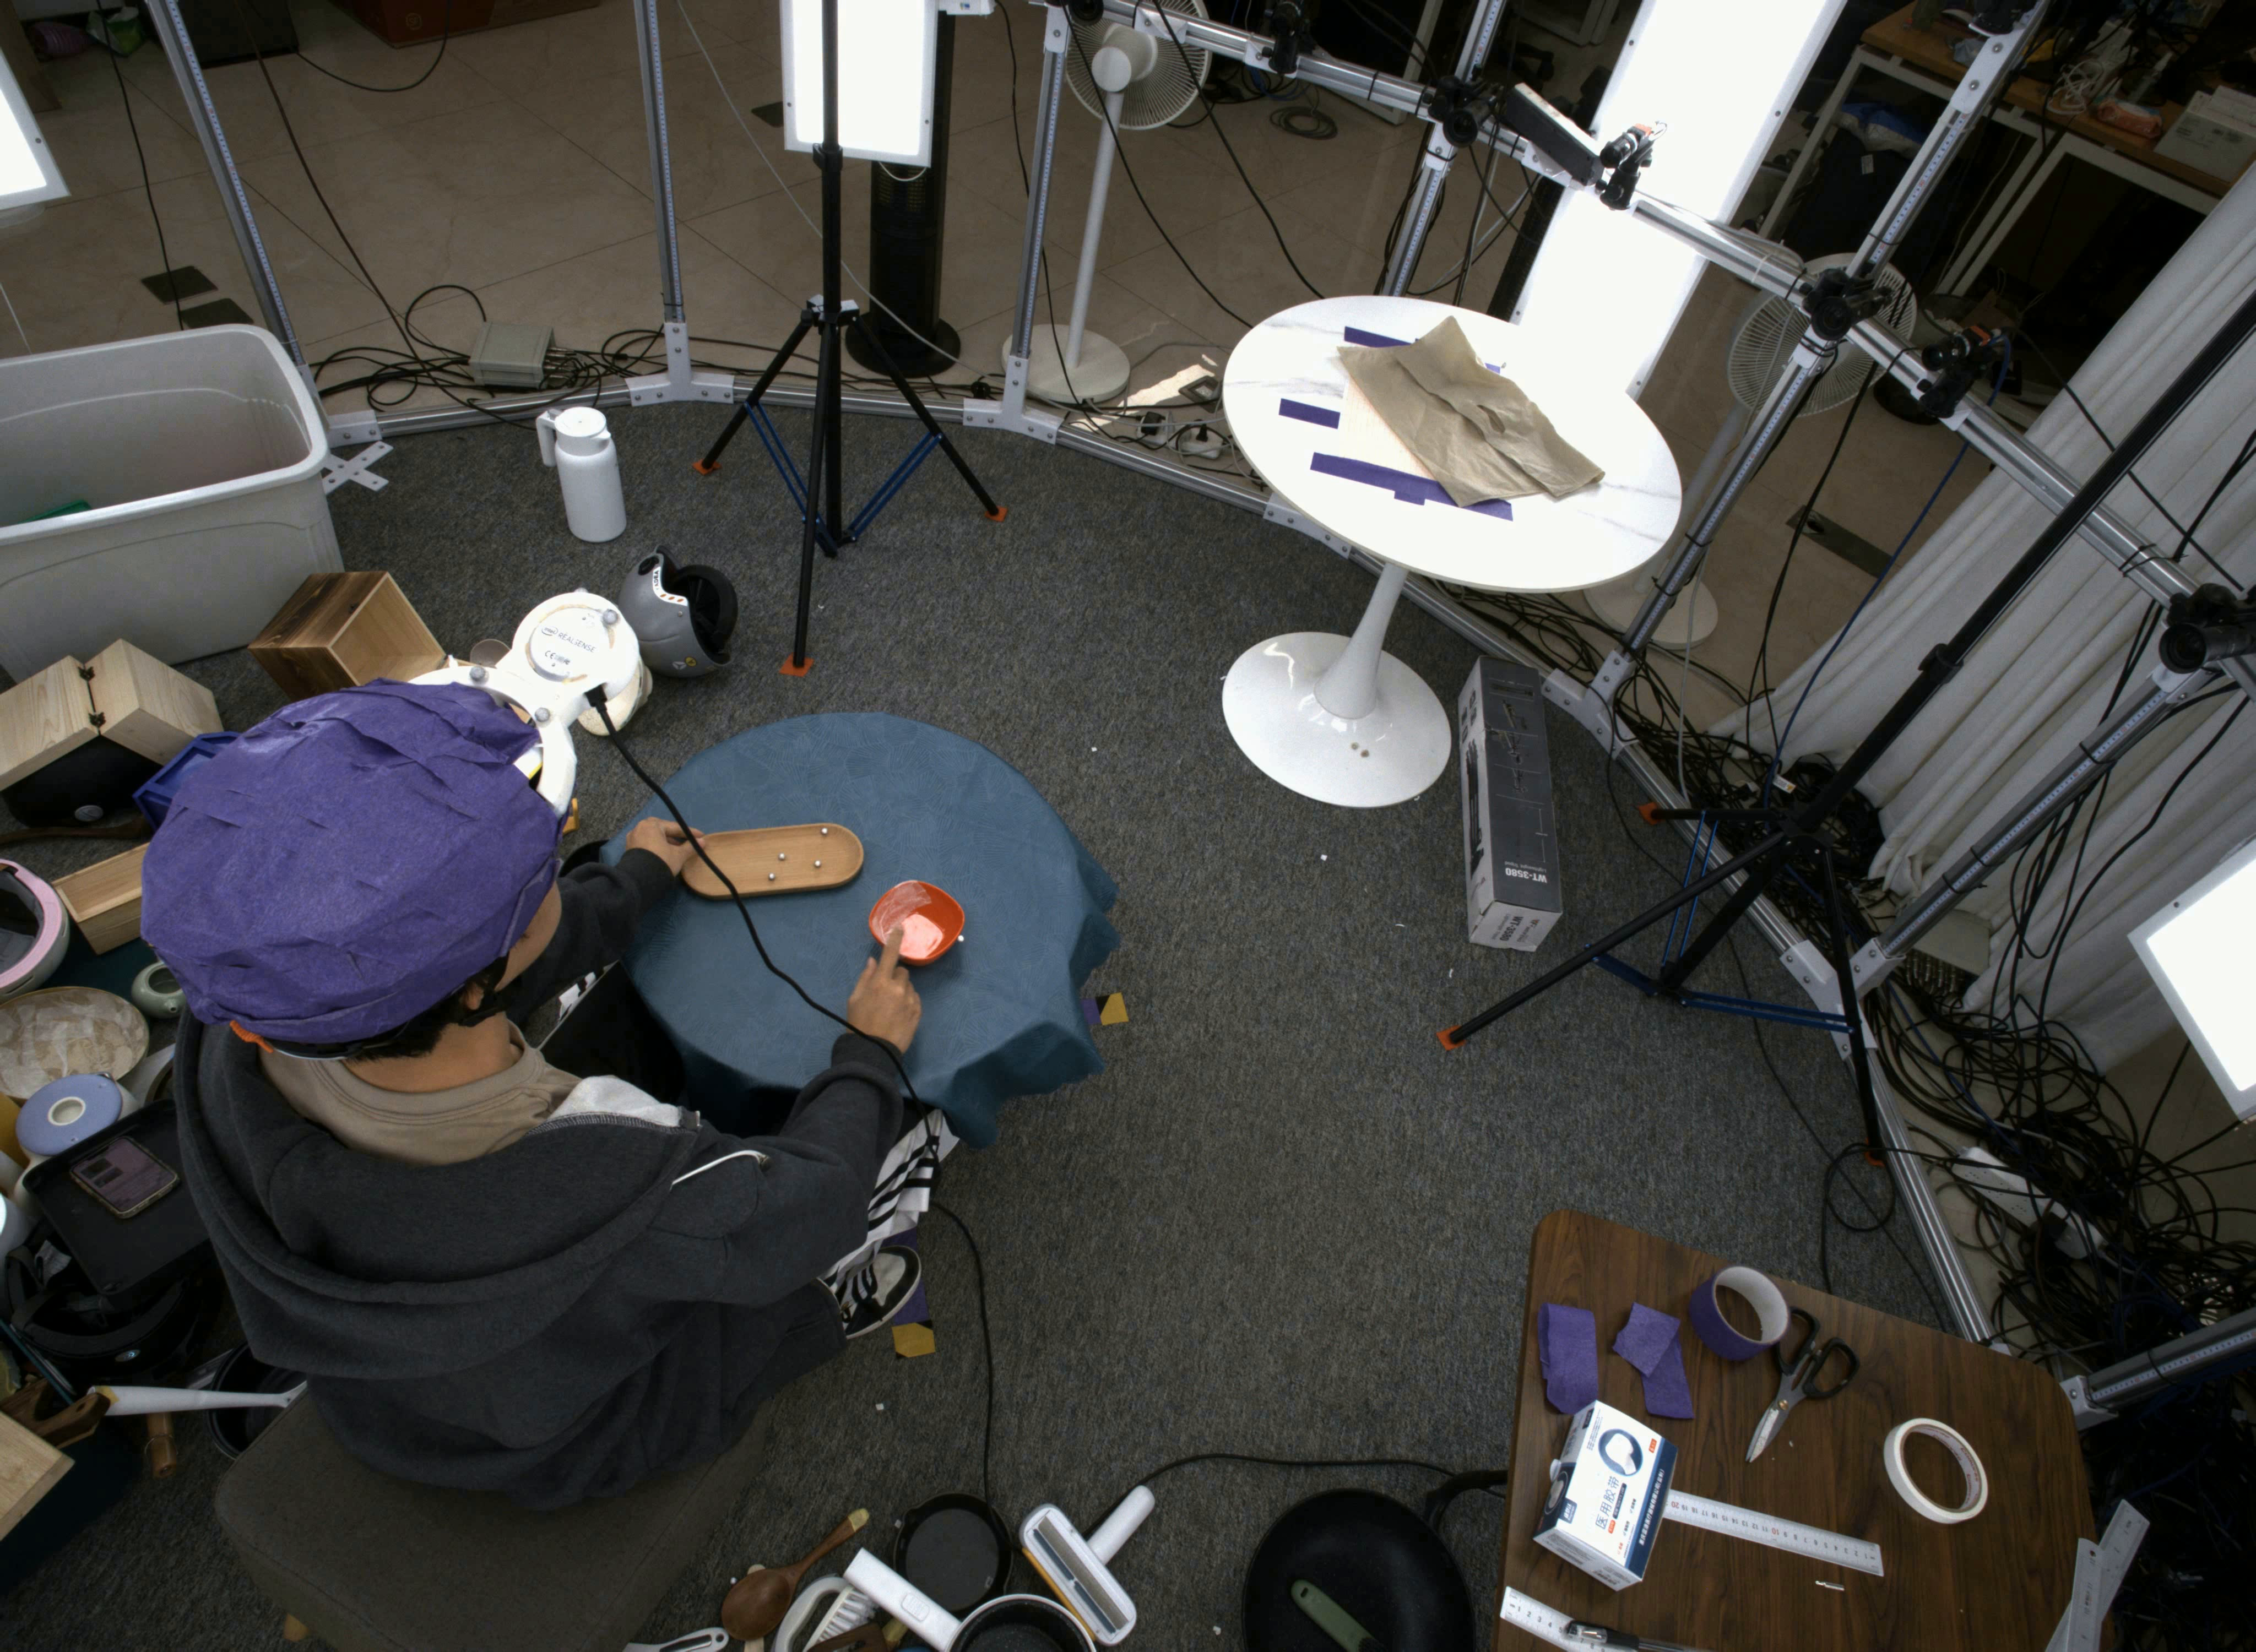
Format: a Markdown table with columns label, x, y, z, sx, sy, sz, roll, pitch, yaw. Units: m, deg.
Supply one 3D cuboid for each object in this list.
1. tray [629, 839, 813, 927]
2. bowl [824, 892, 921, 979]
| label | x | y | z | sx | sy | sz | roll | pitch | yaw |
| --- | --- | --- | --- | --- | --- | --- | --- | --- | --- |
| tray | -0.517 | 0.070 | 1.642 | 0.232 | 0.021 | 0.099 | -10 | 56 | -20 |
| bowl | -0.318 | 0.142 | 1.614 | 0.119 | 0.052 | 0.117 | 9 | 51 | -9 |
